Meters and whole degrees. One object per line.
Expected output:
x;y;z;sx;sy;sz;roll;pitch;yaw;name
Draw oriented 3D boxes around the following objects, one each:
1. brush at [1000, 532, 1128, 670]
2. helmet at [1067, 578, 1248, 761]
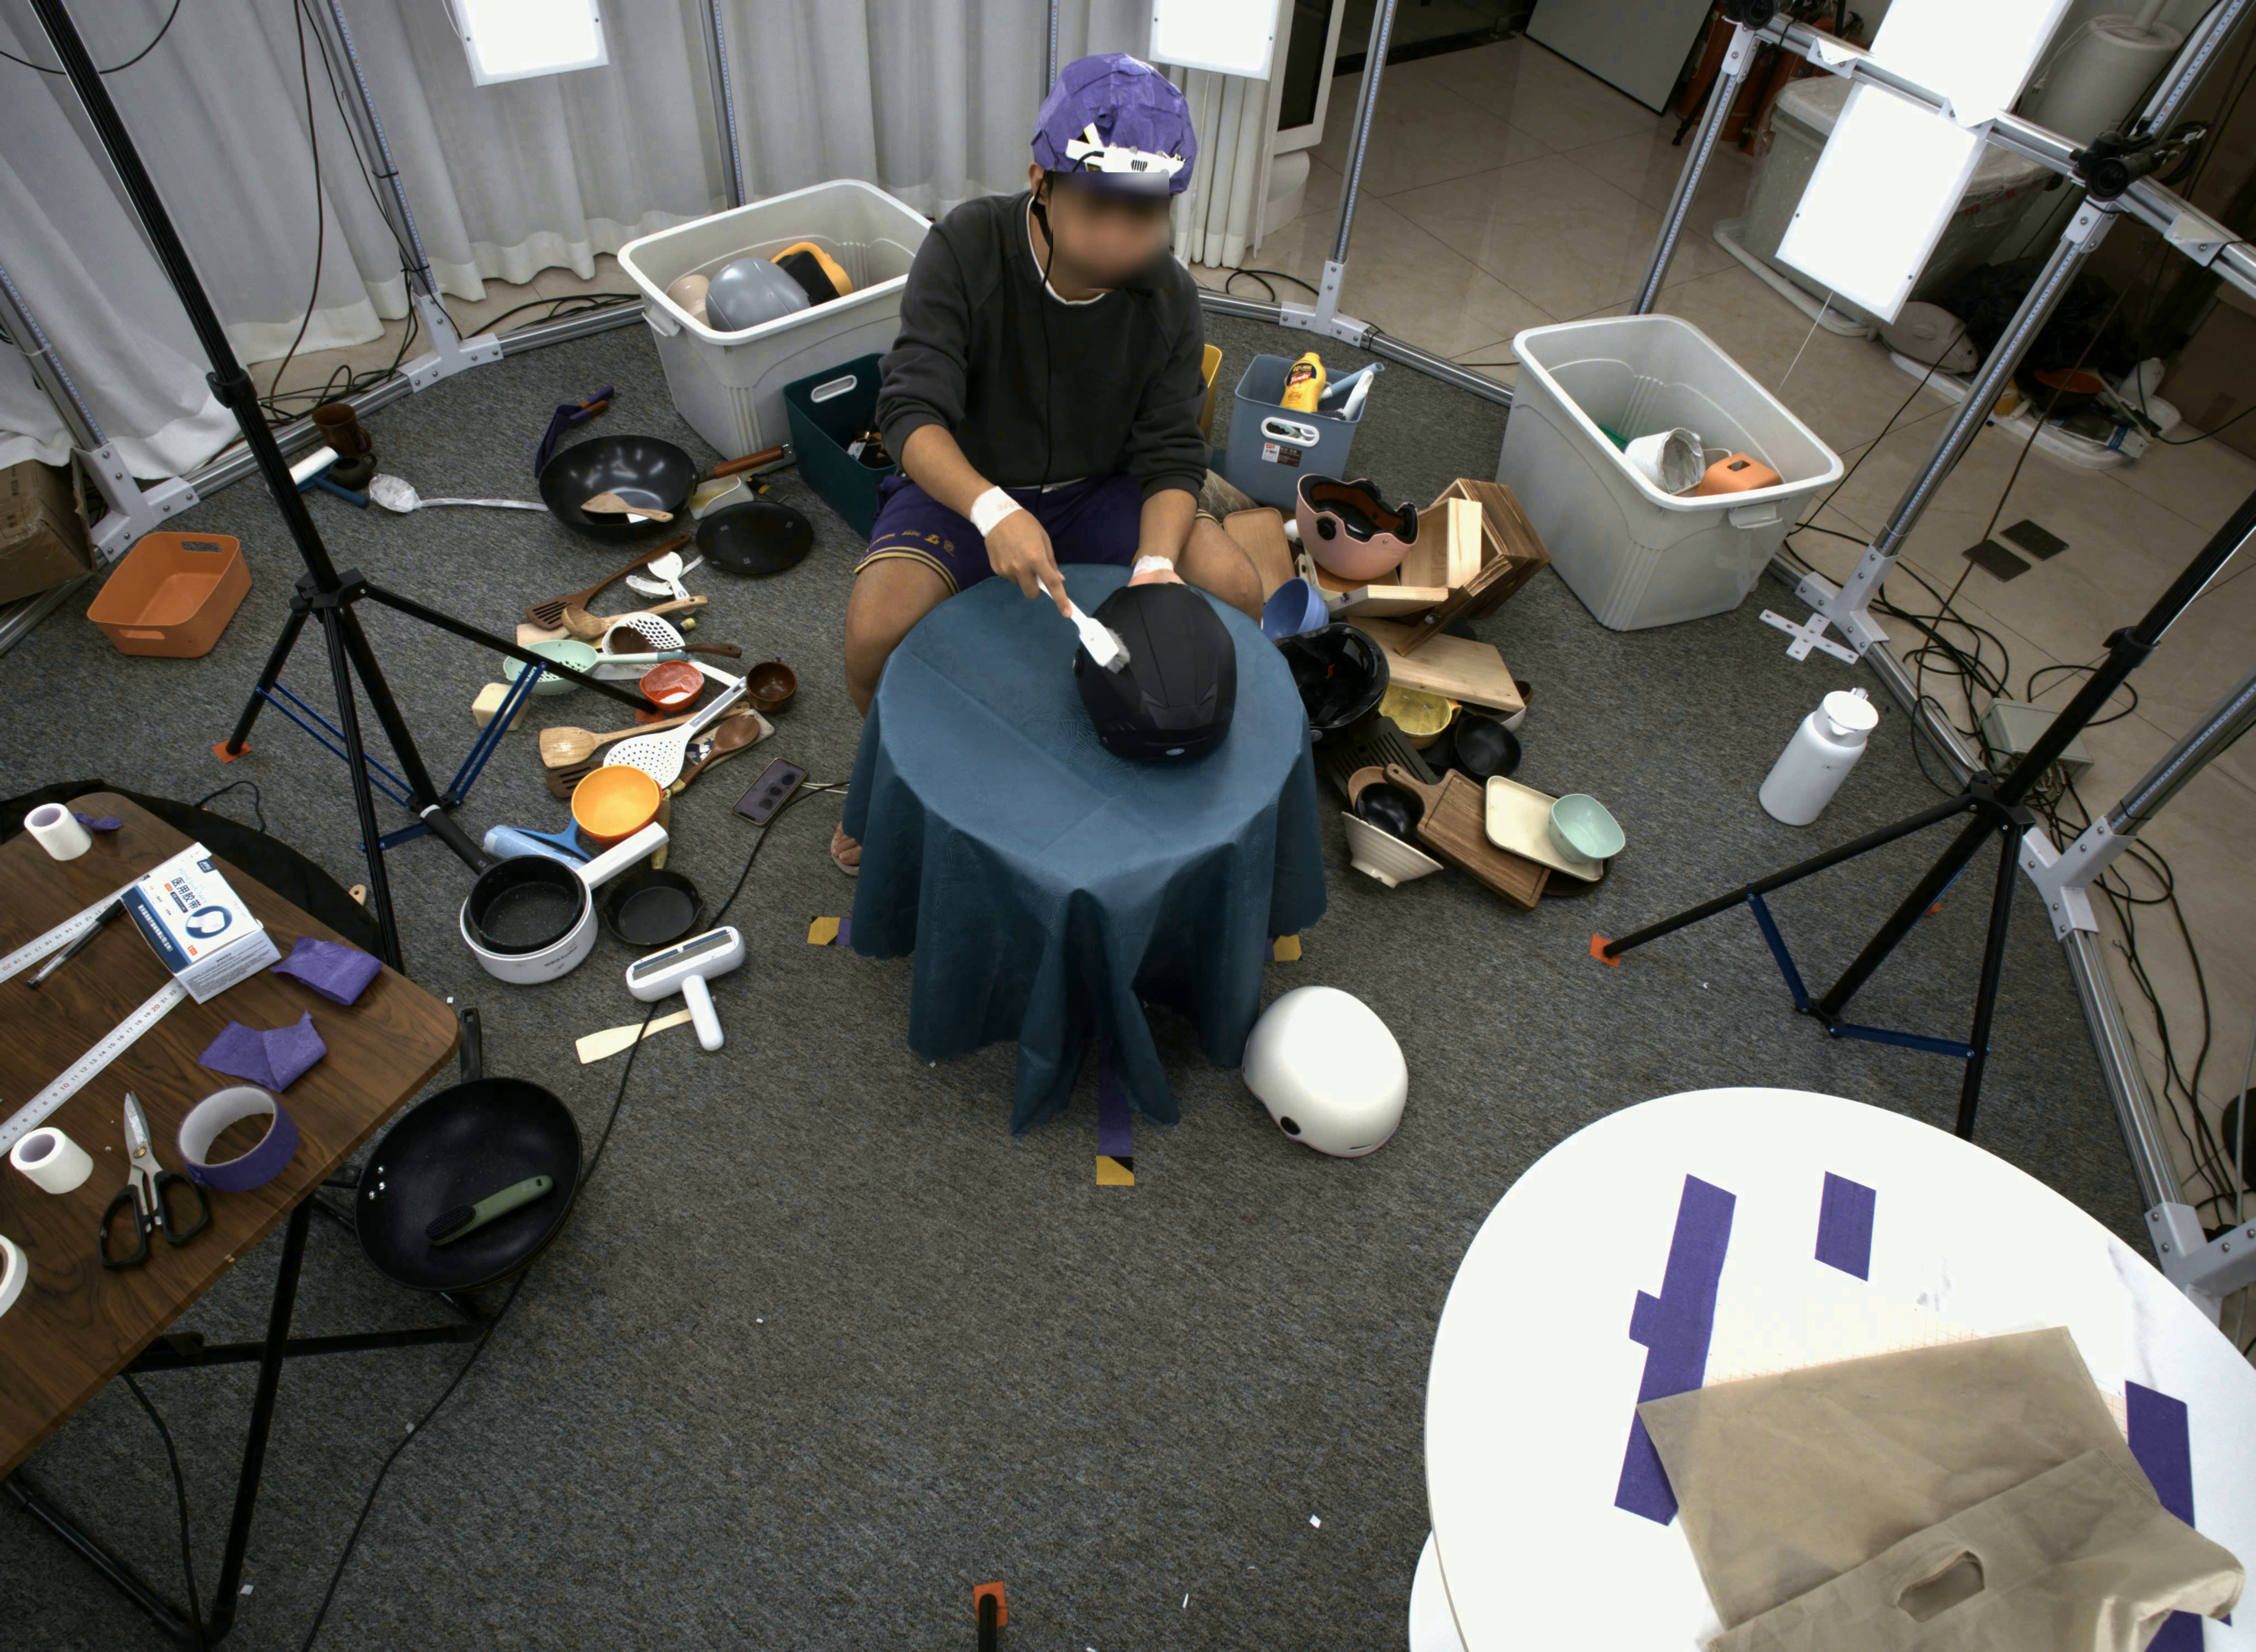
-0.084;-0.299;1.696;0.247;0.034;0.050;50;19;21;brush
0.048;-0.228;1.747;0.246;0.169;0.282;-4;65;-9;helmet
